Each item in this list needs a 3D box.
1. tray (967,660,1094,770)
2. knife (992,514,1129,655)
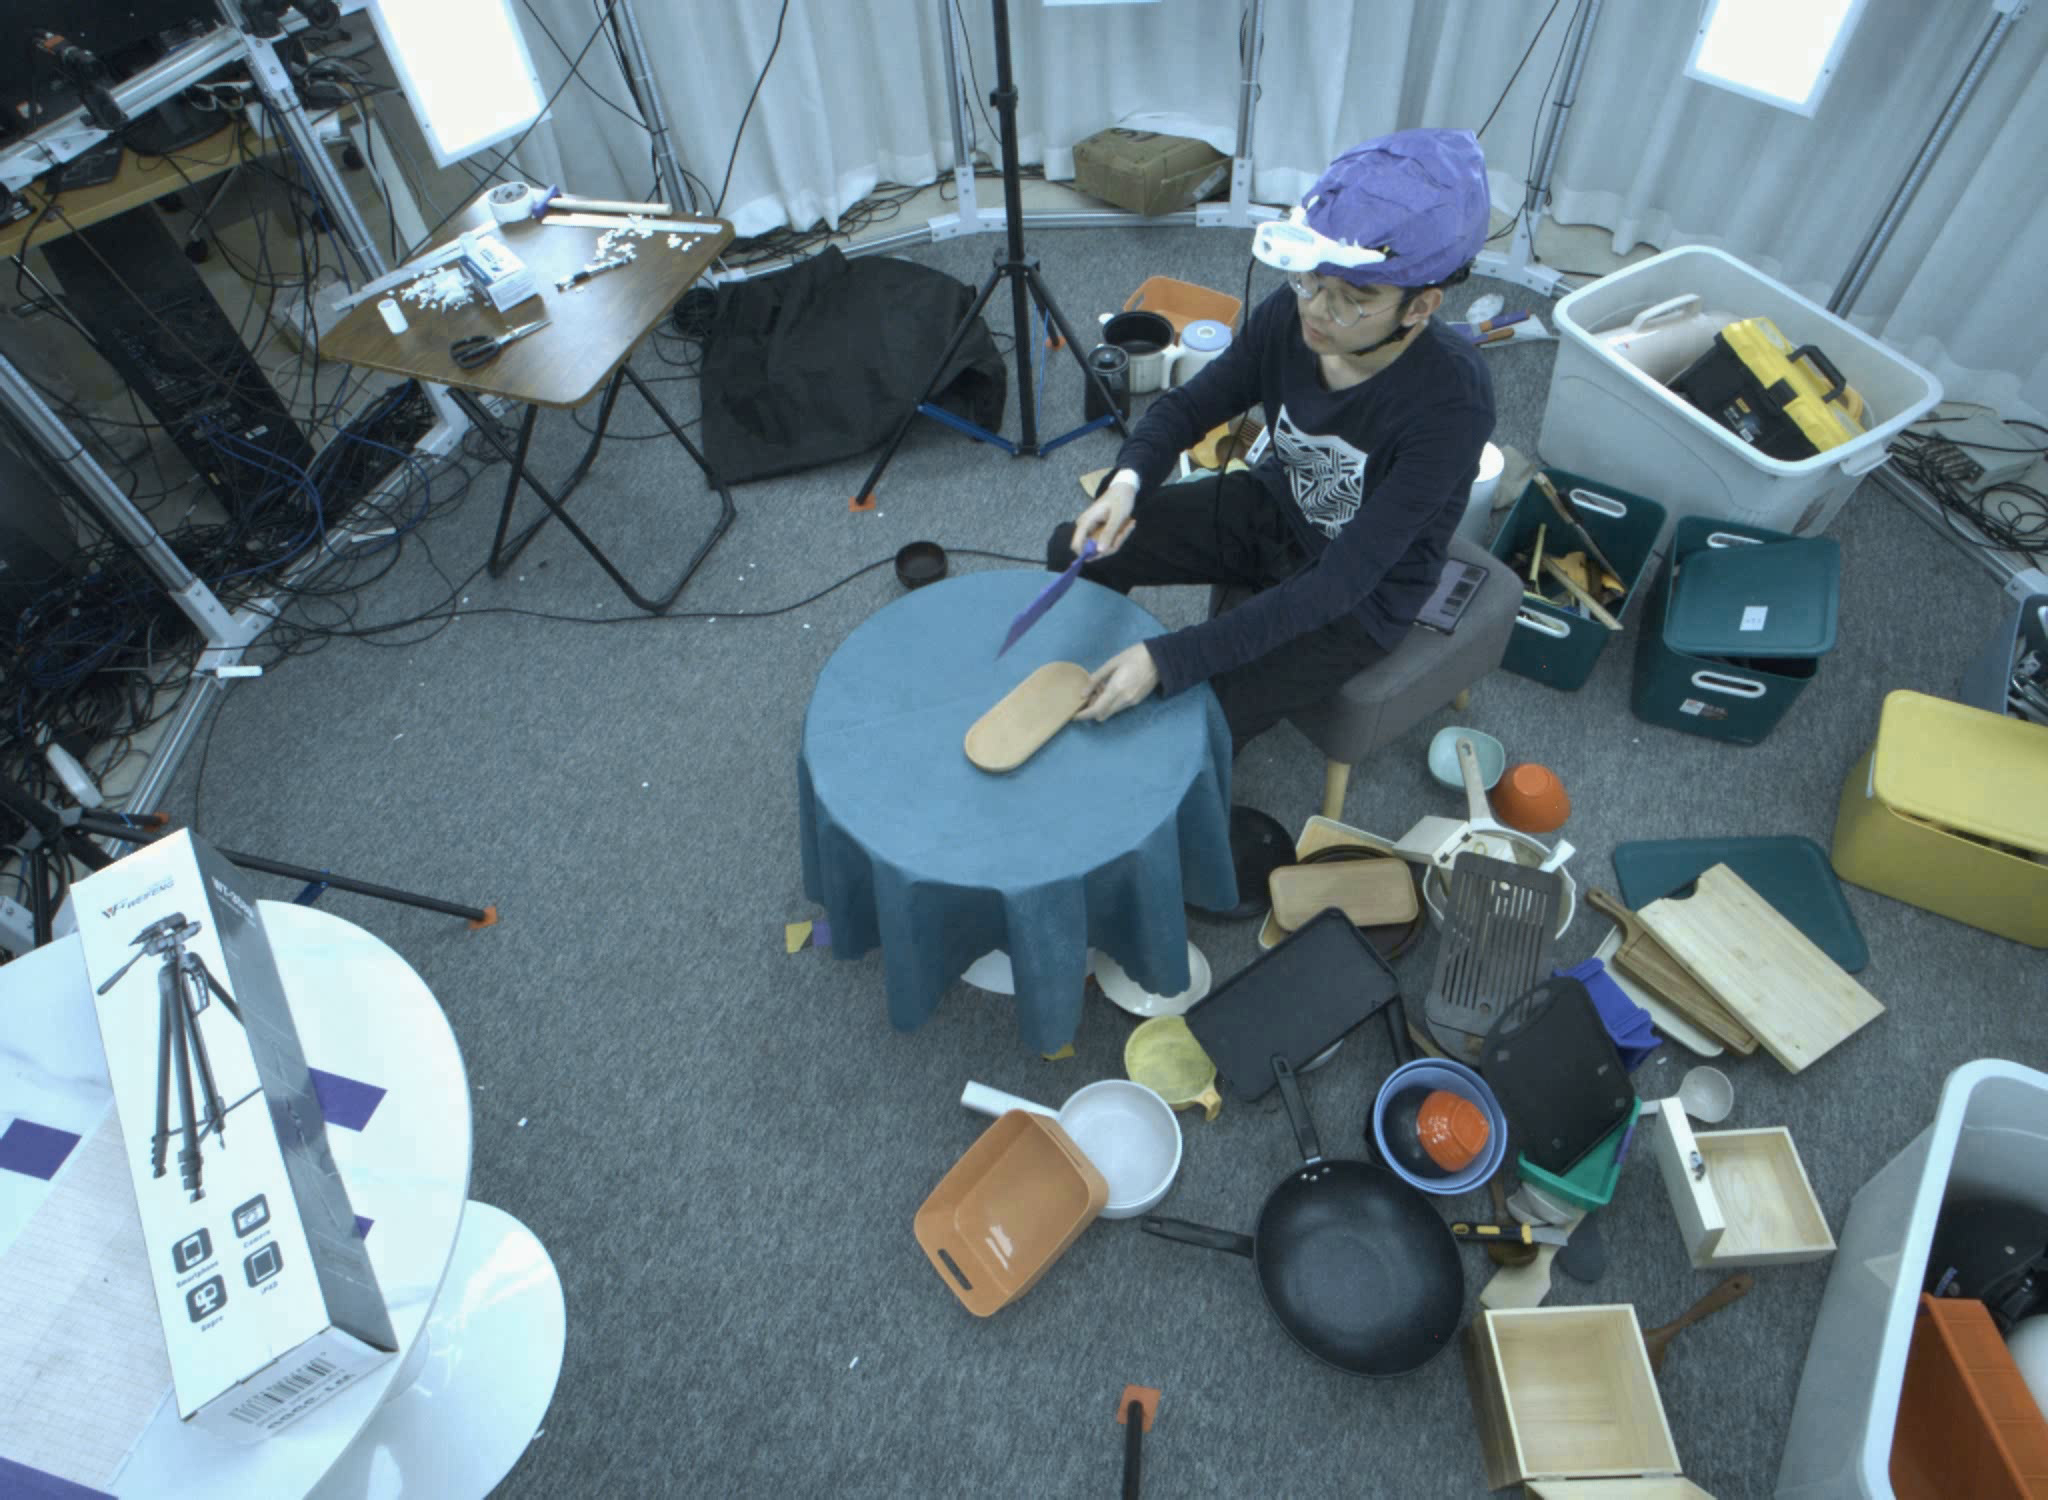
[{"bbox_3d":[0.011,-0.053,1.820,0.100,0.020,0.233,34,60,26],"label":"tray"},{"bbox_3d":[0.050,-0.245,1.804,0.032,0.103,0.317,41,53,7],"label":"knife"}]
